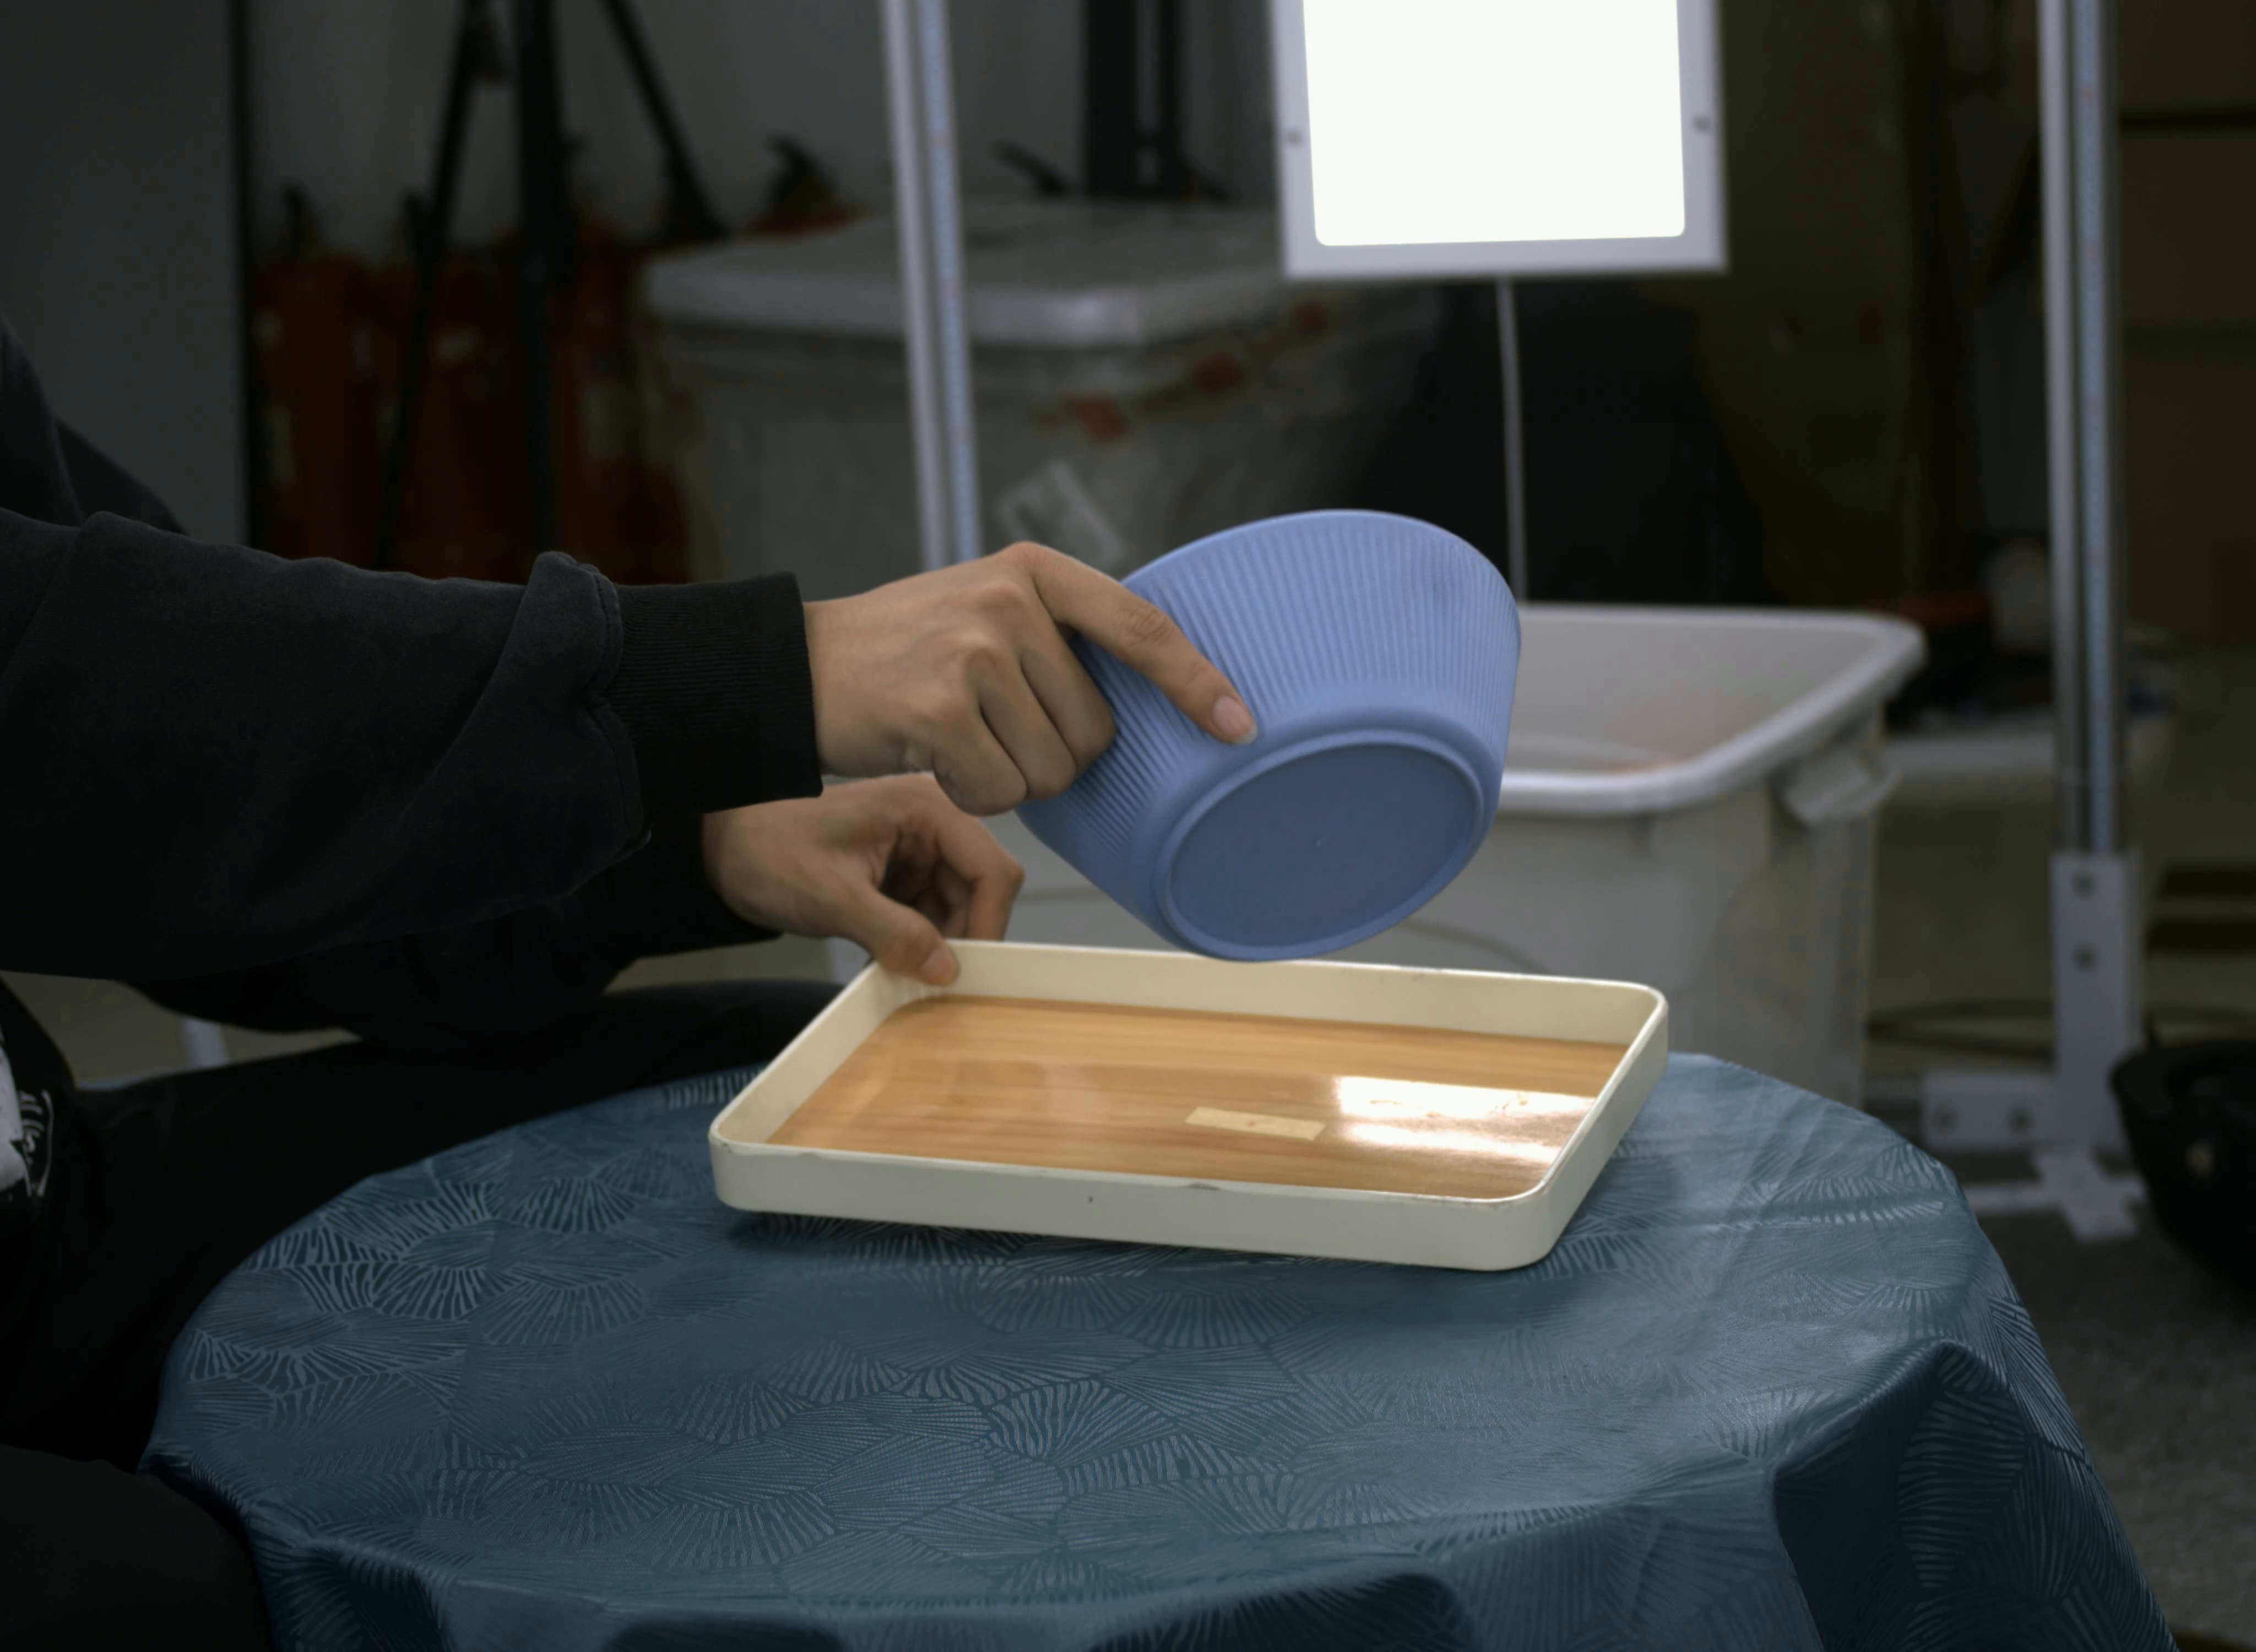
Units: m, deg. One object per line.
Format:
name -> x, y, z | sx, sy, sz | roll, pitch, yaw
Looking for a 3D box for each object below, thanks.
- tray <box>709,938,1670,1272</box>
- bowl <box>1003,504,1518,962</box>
tray -> 0.024, 0.094, 1.907 | 0.304, 0.027, 0.188 | 3, 22, 22
bowl -> 0.052, -0.018, 1.761 | 0.174, 0.177, 0.070 | -7, 51, -13
